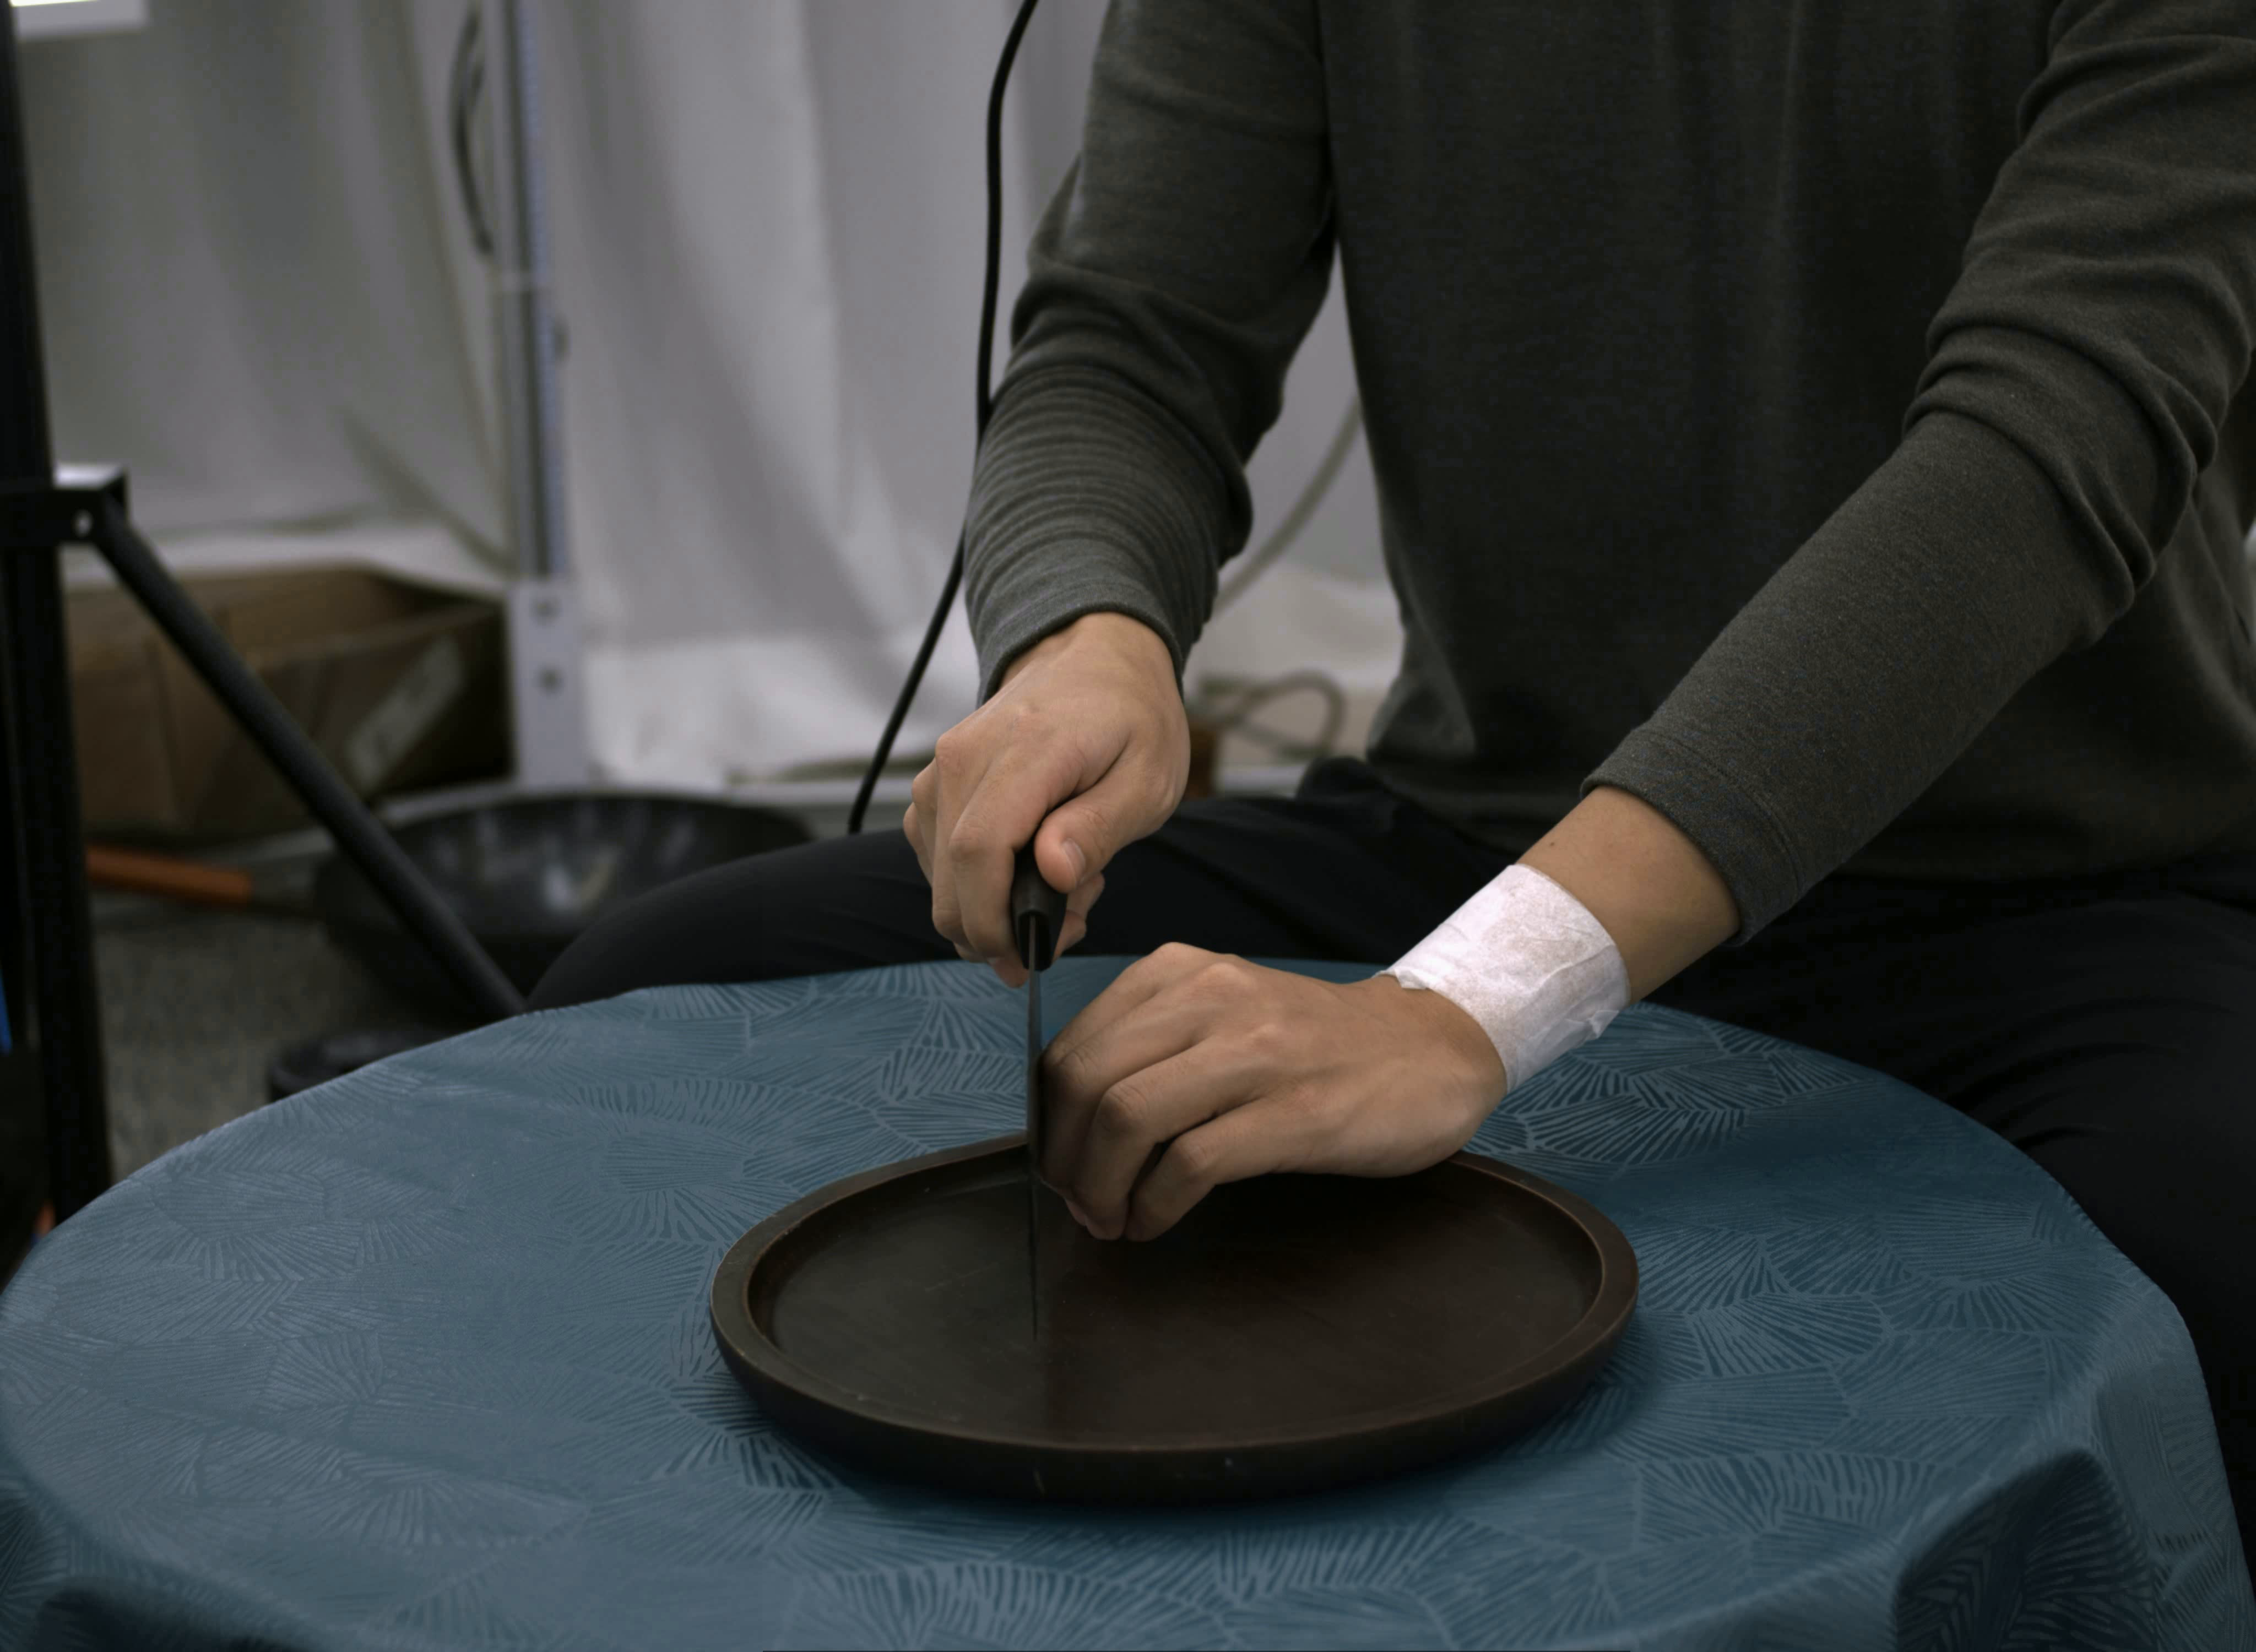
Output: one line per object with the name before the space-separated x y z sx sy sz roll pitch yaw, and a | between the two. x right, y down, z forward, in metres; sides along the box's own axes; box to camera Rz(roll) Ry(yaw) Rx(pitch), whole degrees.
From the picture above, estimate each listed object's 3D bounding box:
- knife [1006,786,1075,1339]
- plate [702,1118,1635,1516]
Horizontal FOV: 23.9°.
knife | -0.025 0.057 1.497 0.021 0.081 0.304 -1 22 0
plate | 0.012 0.130 1.440 0.253 0.029 0.256 -4 16 0
